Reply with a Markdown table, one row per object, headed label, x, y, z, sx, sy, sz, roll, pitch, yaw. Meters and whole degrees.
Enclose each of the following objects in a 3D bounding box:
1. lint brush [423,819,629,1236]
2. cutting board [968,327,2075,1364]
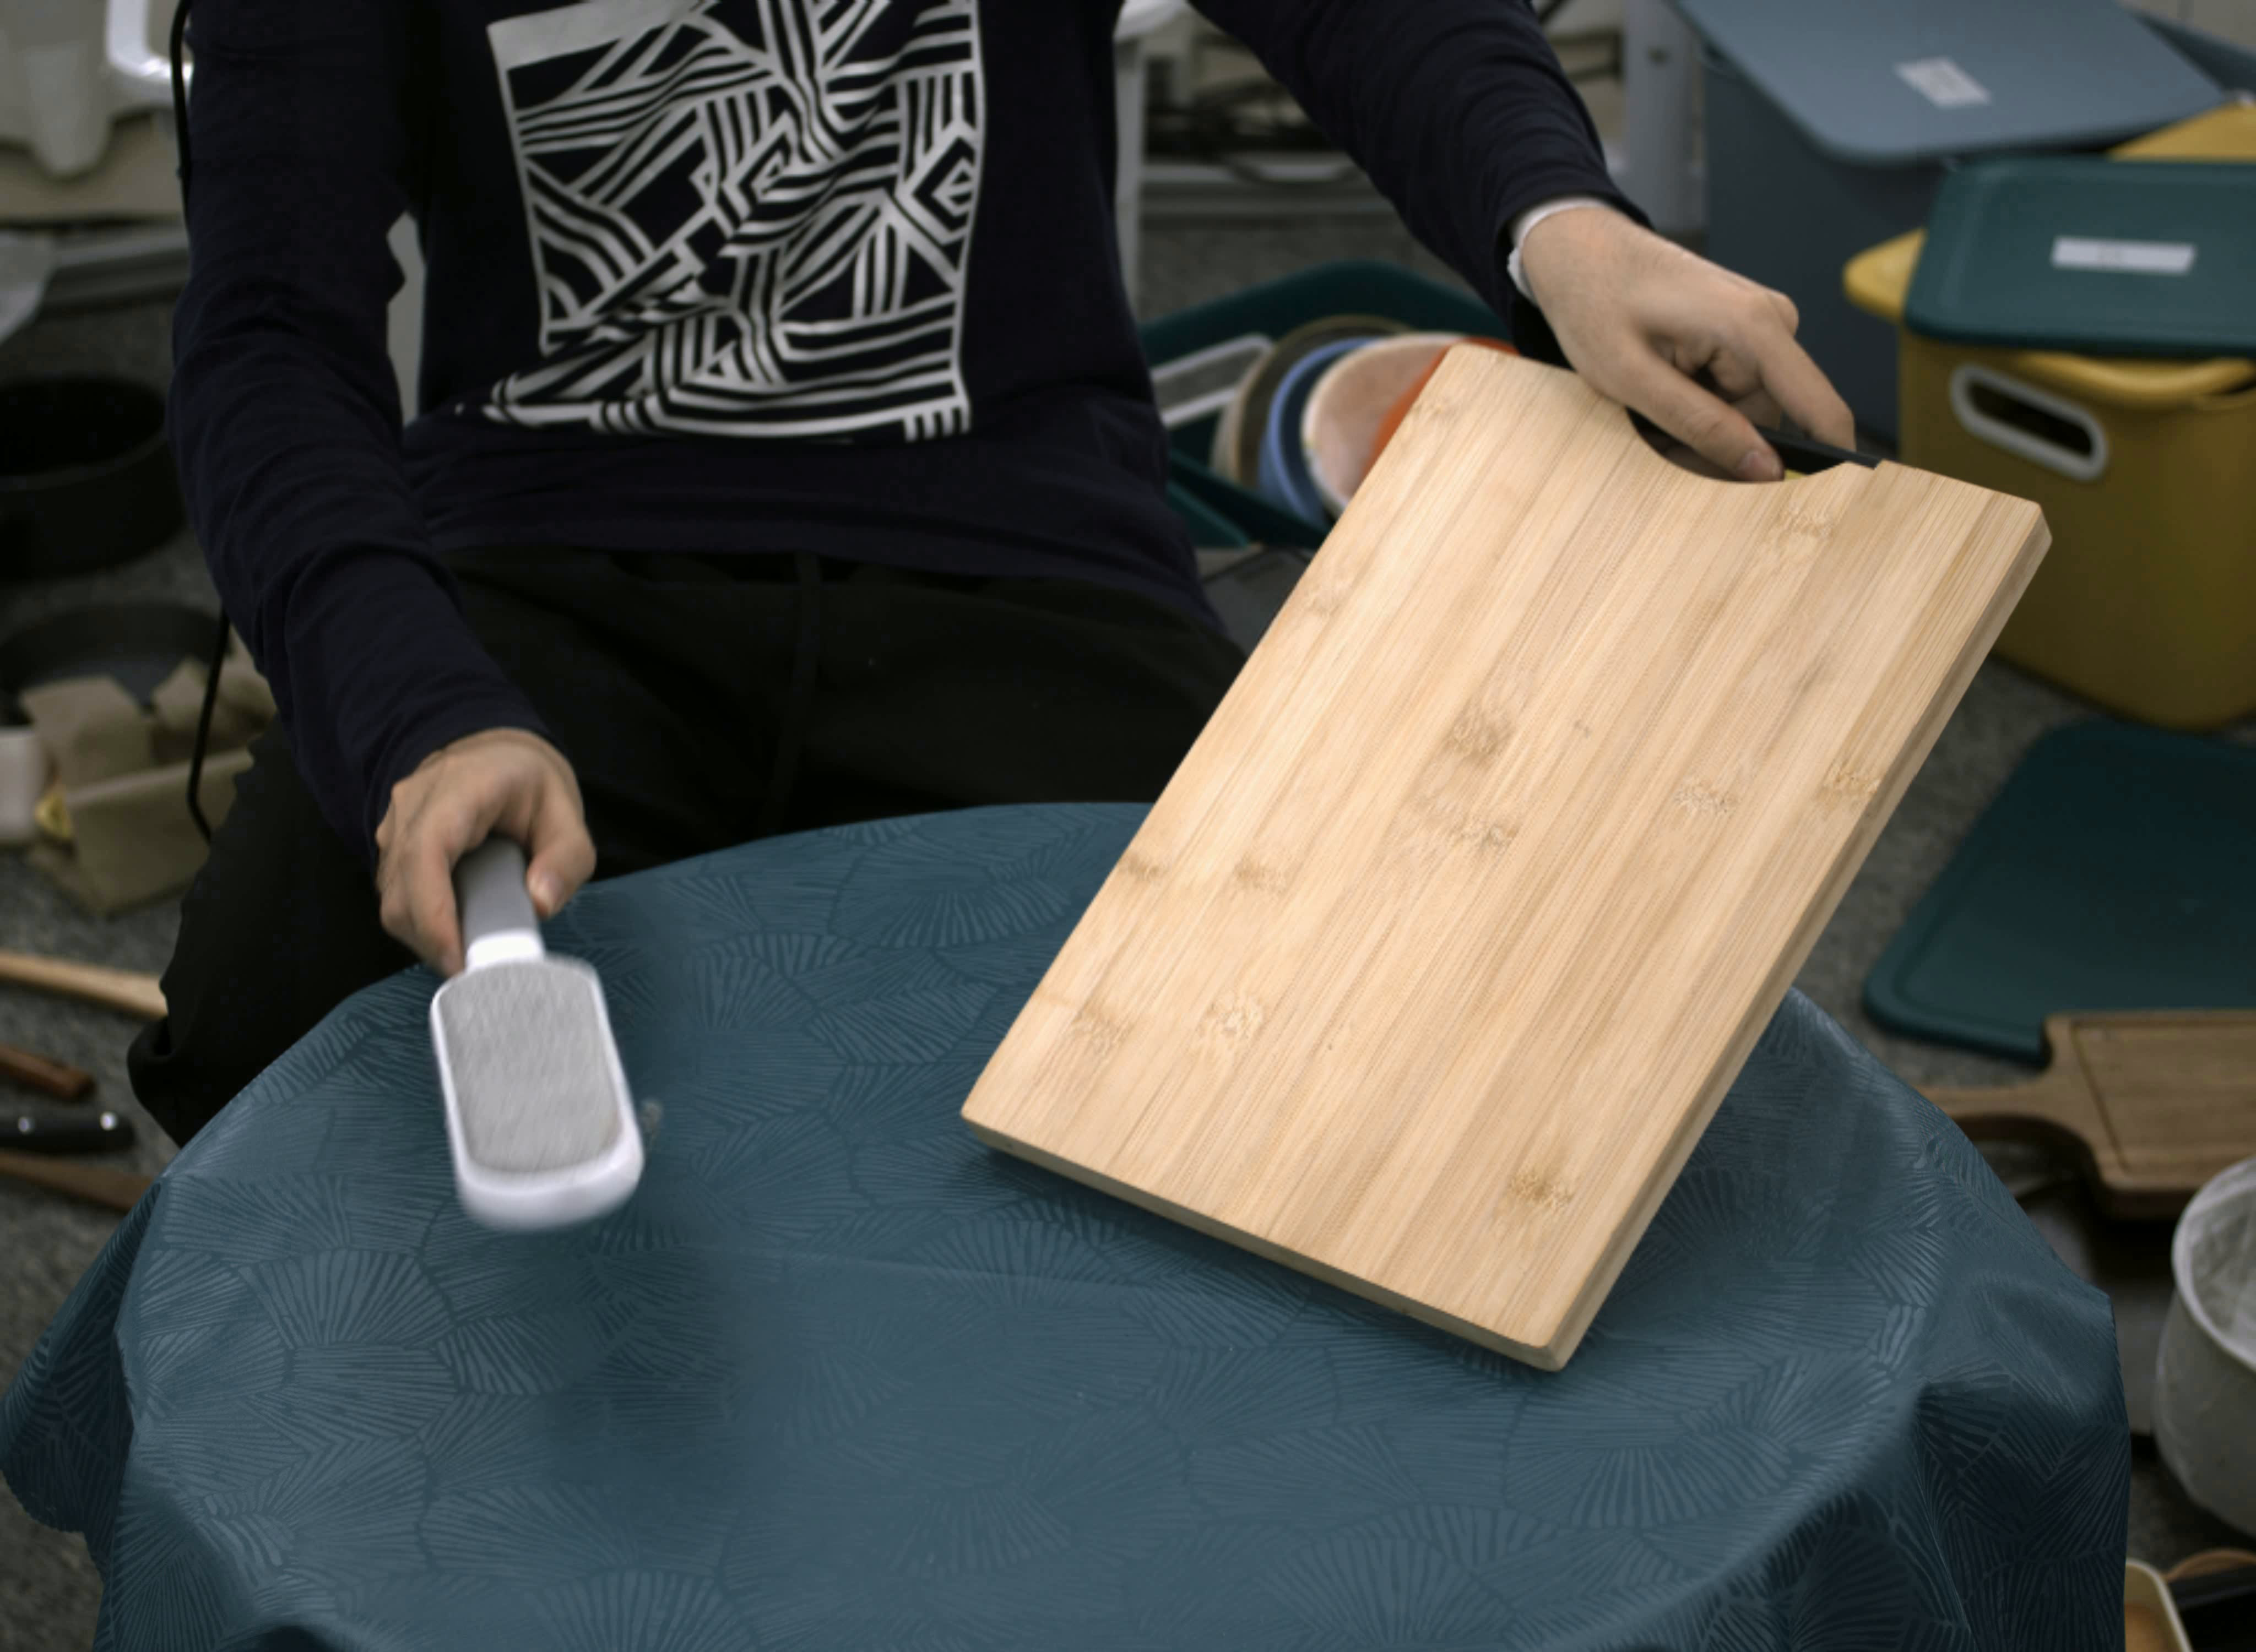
| label | x | y | z | sx | sy | sz | roll | pitch | yaw |
| --- | --- | --- | --- | --- | --- | --- | --- | --- | --- |
| lint brush | -0.200 | 0.061 | 1.833 | 0.060 | 0.021 | 0.312 | -11 | 23 | -6 |
| cutting board | 0.129 | -0.004 | 1.877 | 0.250 | 0.023 | 0.354 | 18 | 64 | 33 |
